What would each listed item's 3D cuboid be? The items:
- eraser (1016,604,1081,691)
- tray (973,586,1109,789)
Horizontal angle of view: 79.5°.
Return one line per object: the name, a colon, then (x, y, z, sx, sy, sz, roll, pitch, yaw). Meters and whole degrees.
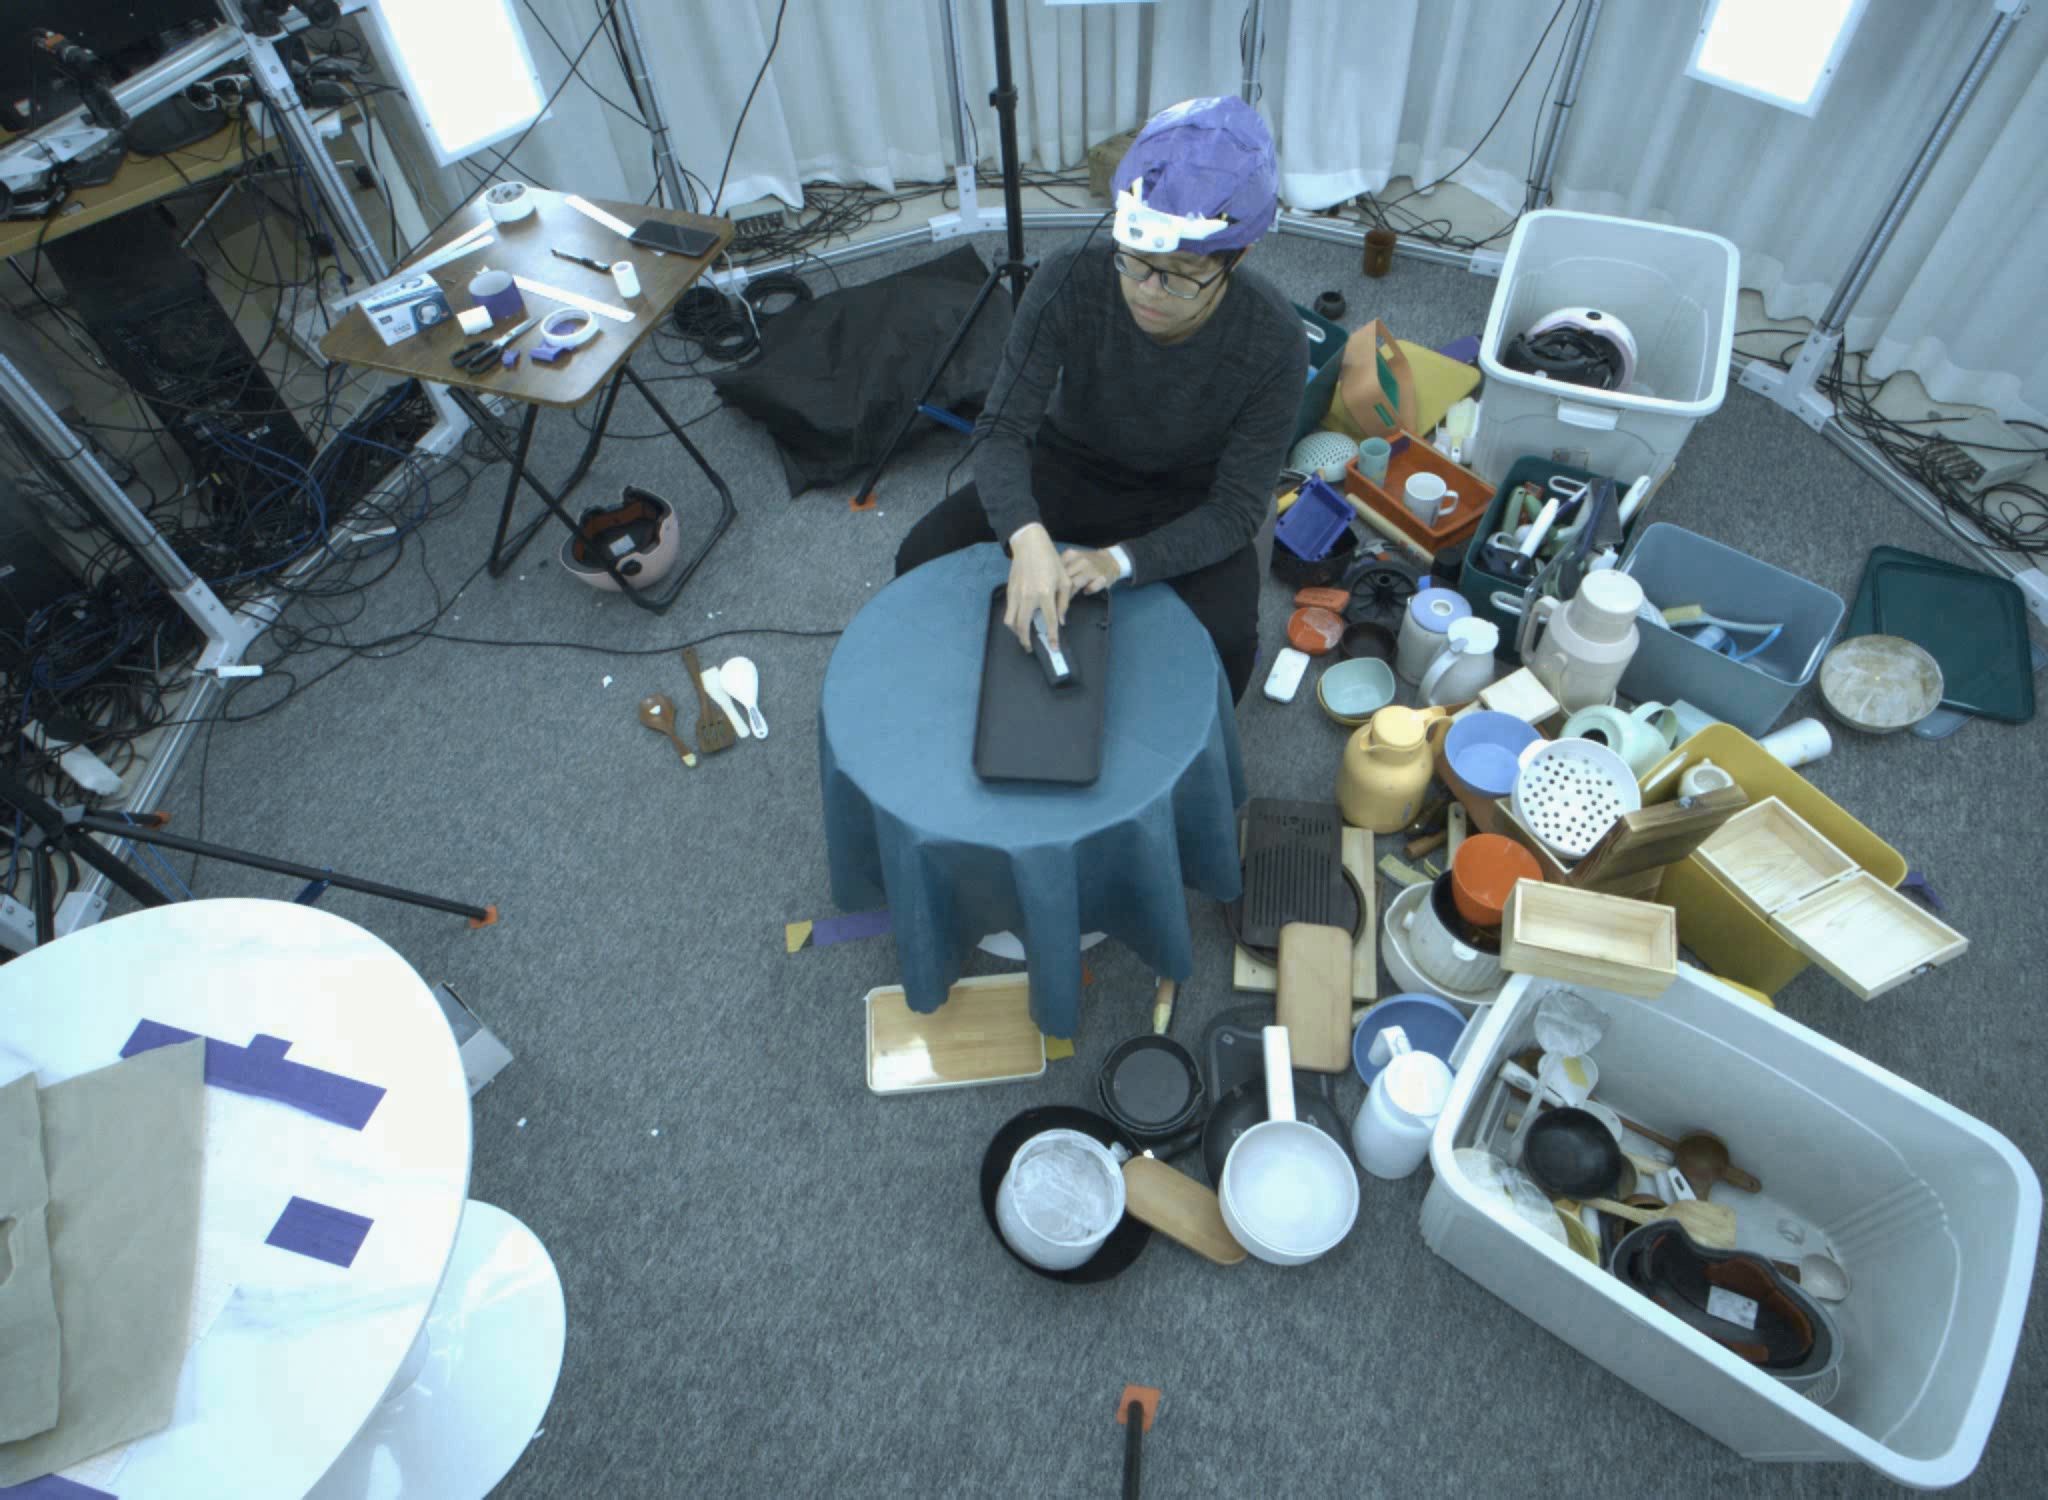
eraser: (0.037, -0.150, 1.808, 0.054, 0.030, 0.124, -22, 73, -5)
tray: (0.028, -0.094, 1.793, 0.184, 0.037, 0.315, 2, 67, 4)
